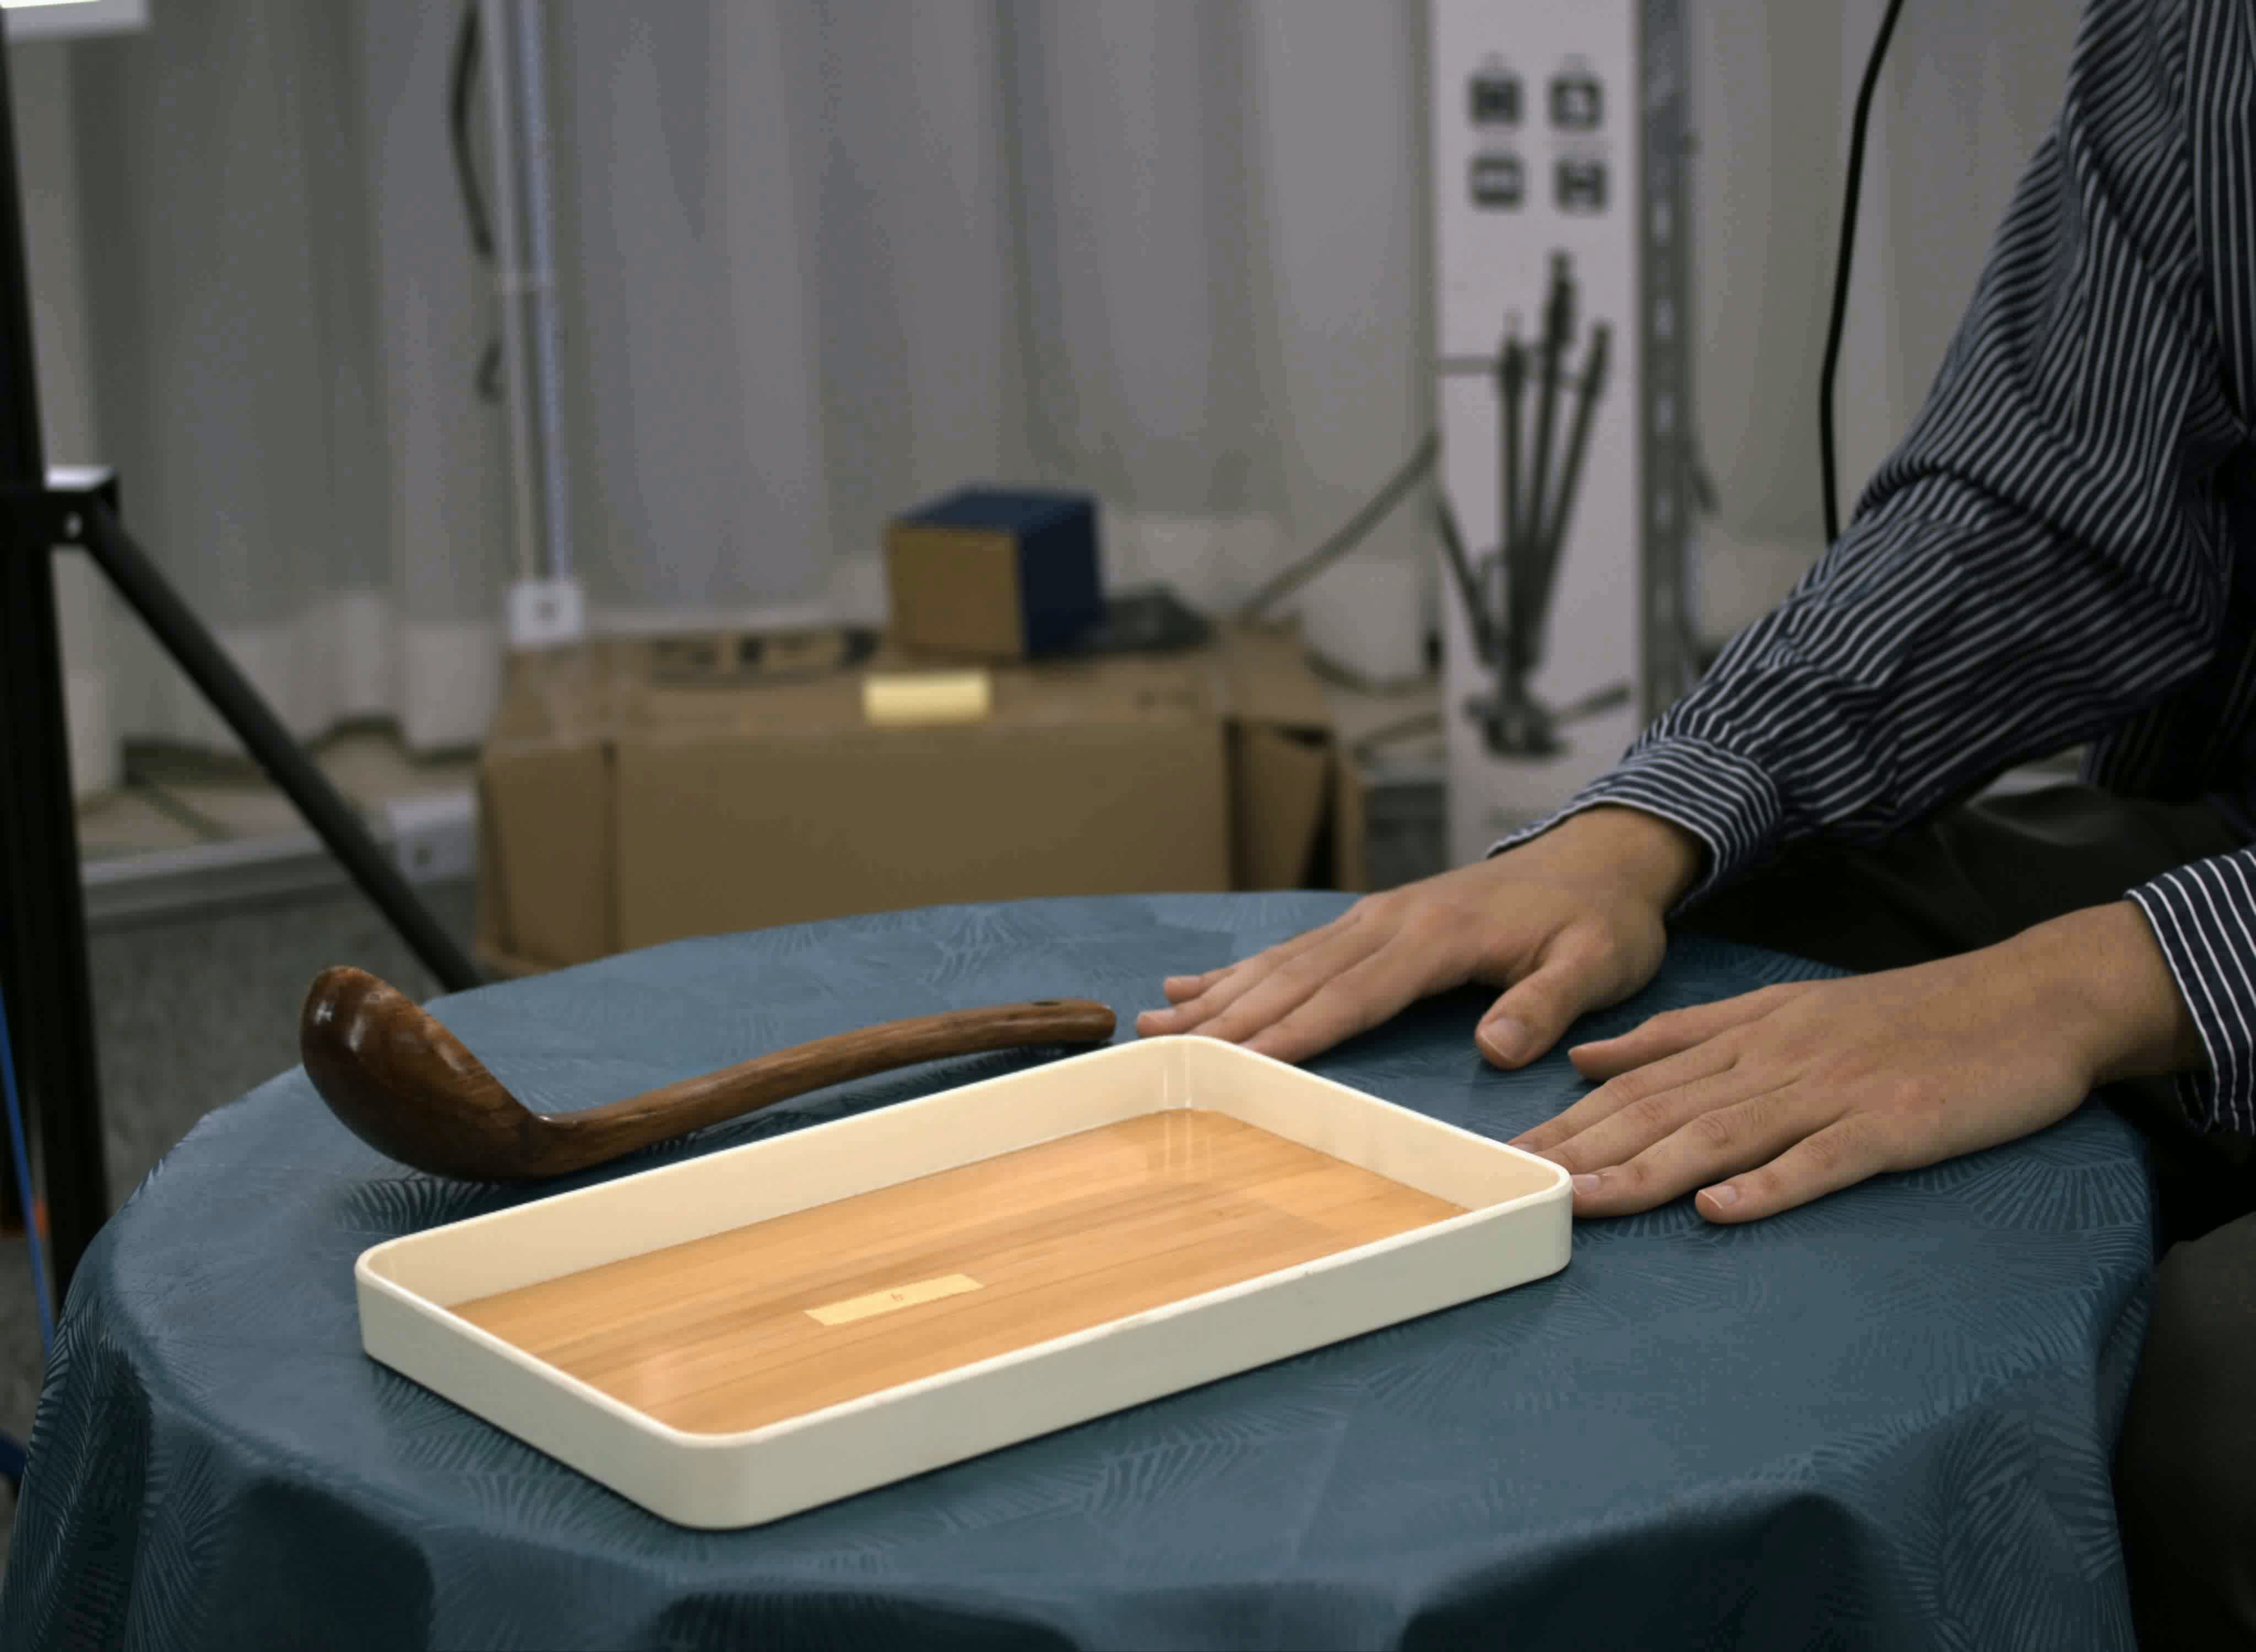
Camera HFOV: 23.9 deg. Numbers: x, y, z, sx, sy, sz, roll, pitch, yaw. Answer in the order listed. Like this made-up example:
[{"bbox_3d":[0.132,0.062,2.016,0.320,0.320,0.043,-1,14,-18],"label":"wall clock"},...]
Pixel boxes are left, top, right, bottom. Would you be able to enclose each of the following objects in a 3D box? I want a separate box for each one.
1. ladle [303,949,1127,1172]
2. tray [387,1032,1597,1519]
[{"bbox_3d":[-0.123,0.053,1.634,0.268,0.076,0.083,-12,14,-29],"label":"ladle"},{"bbox_3d":[-0.036,0.120,1.482,0.293,0.027,0.196,-13,19,-33],"label":"tray"}]
